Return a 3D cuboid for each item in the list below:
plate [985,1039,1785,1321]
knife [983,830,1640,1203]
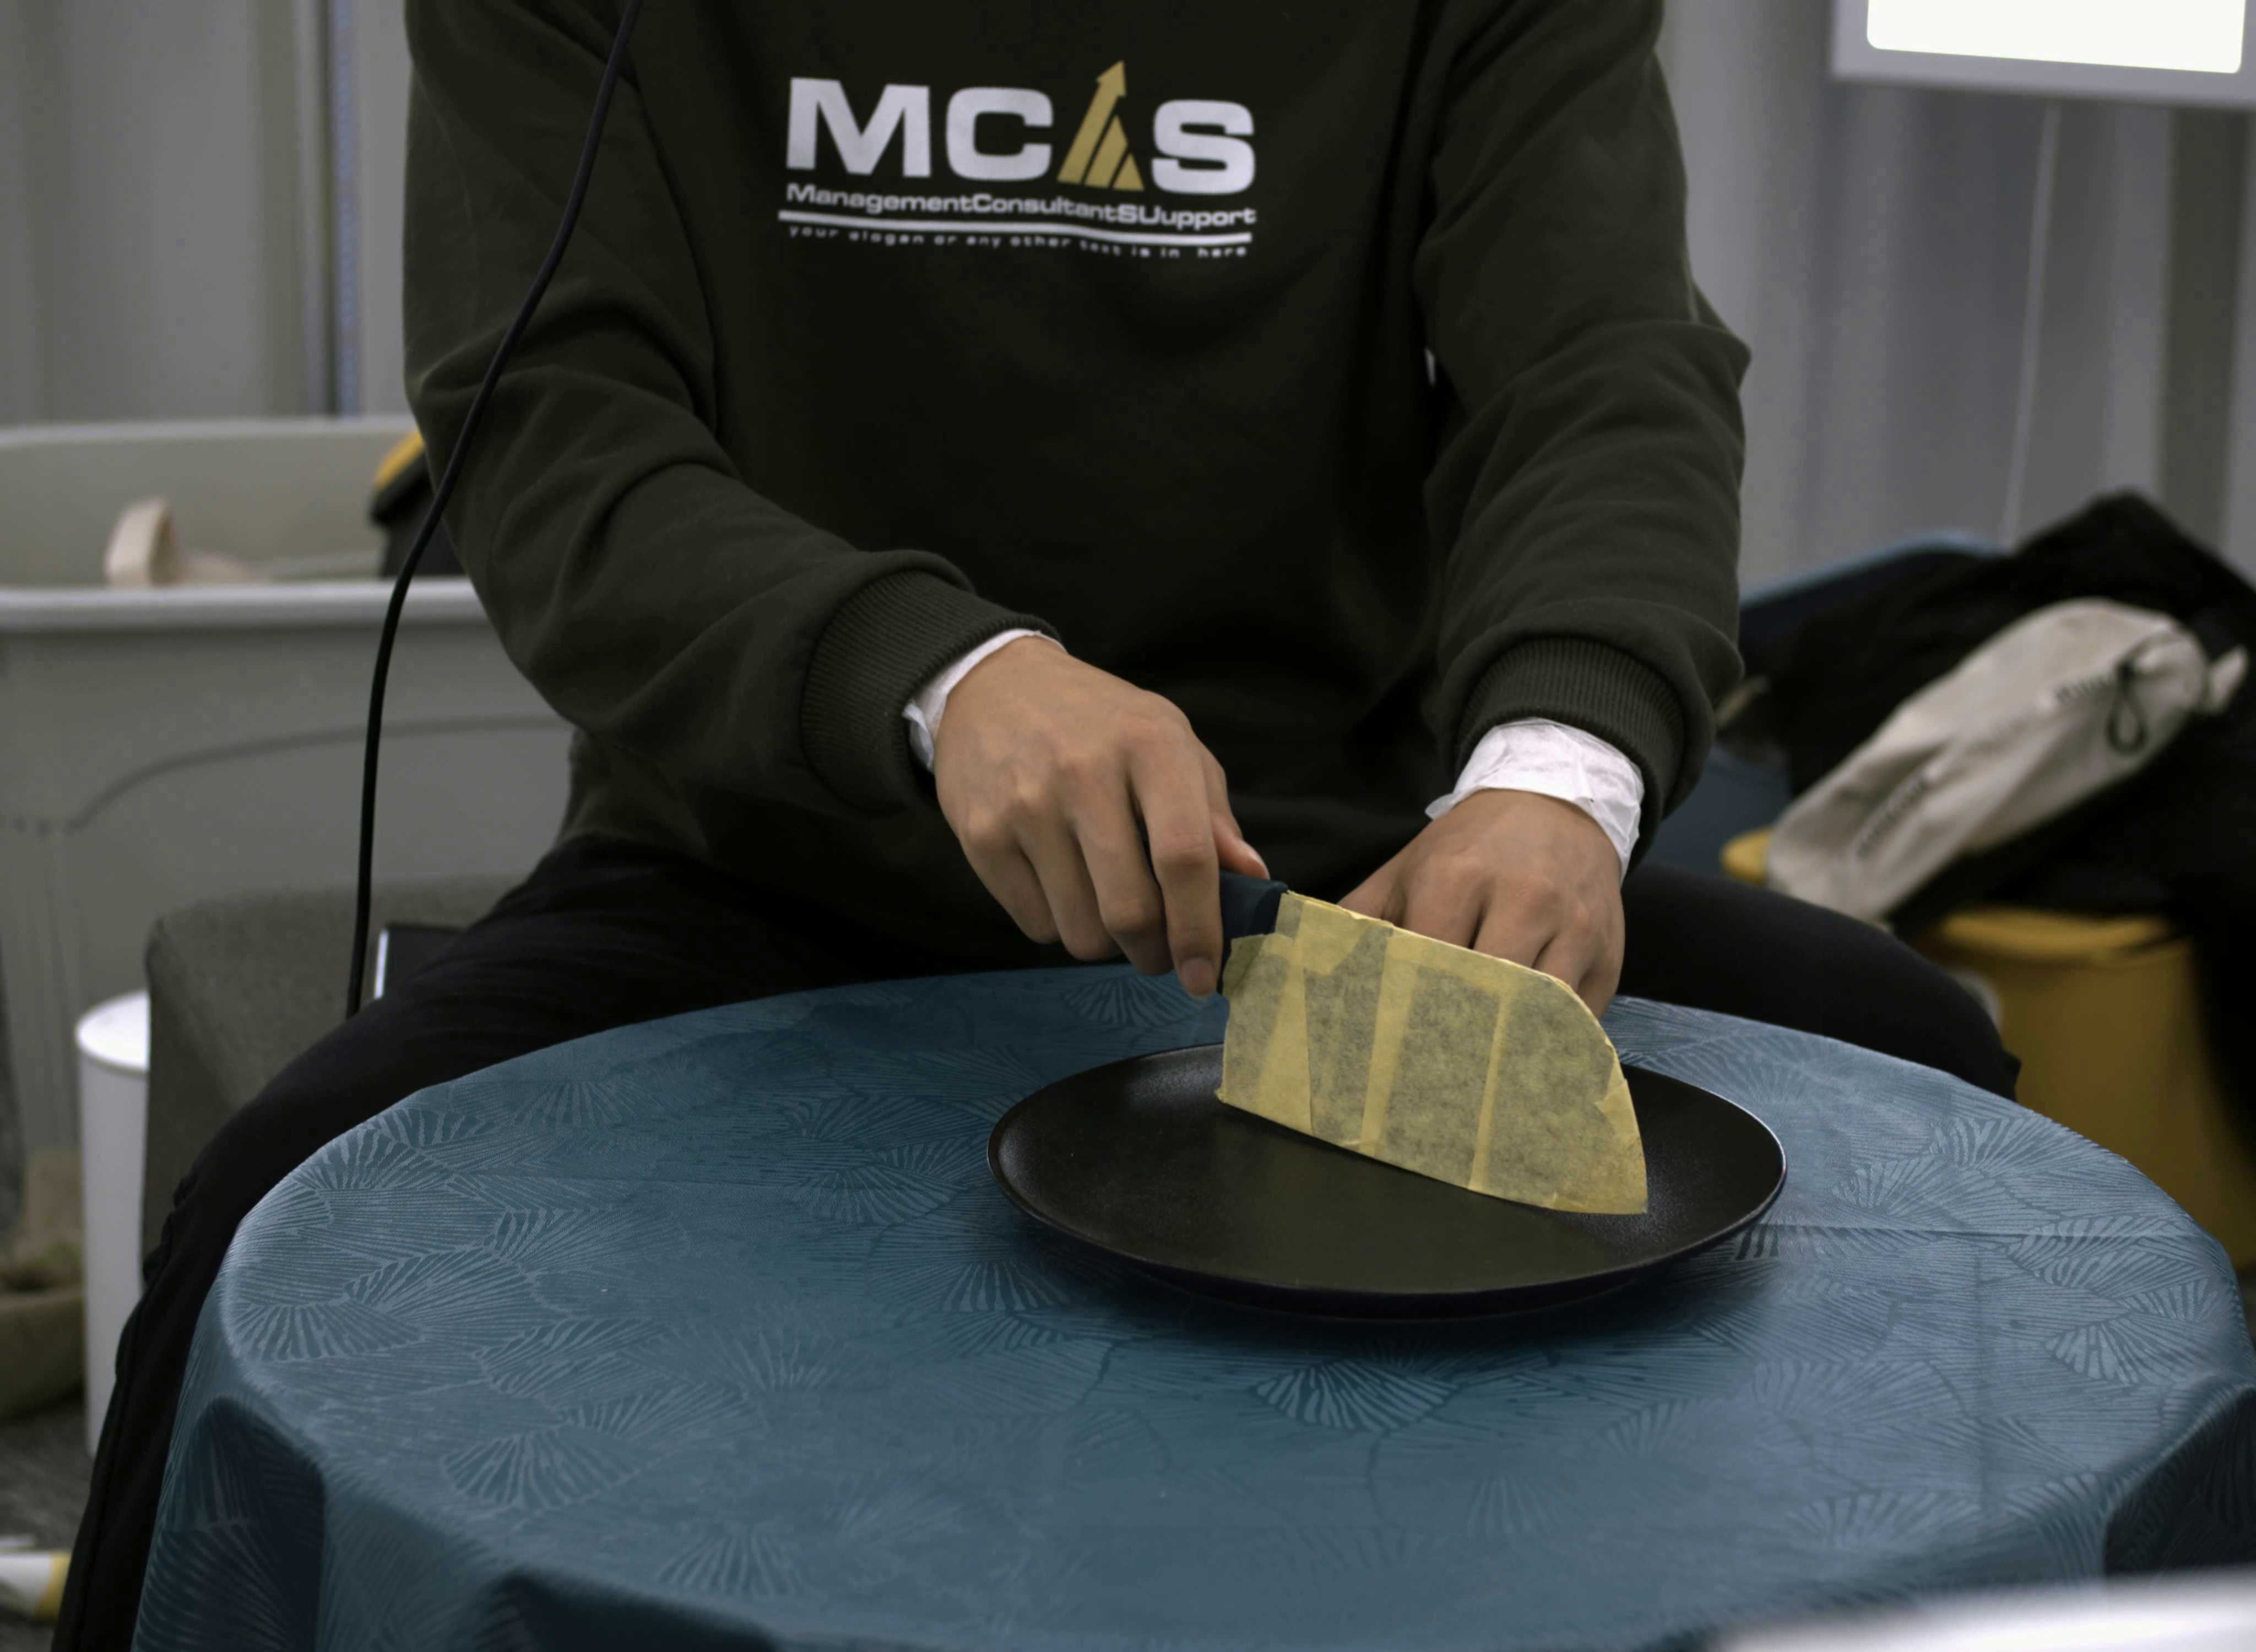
[{"bbox_3d":[0.077,0.108,1.598,0.243,0.023,0.243,1,15,0],"label":"plate"},{"bbox_3d":[0.053,0.056,1.649,0.027,0.081,0.285,1,15,-46],"label":"knife"}]
